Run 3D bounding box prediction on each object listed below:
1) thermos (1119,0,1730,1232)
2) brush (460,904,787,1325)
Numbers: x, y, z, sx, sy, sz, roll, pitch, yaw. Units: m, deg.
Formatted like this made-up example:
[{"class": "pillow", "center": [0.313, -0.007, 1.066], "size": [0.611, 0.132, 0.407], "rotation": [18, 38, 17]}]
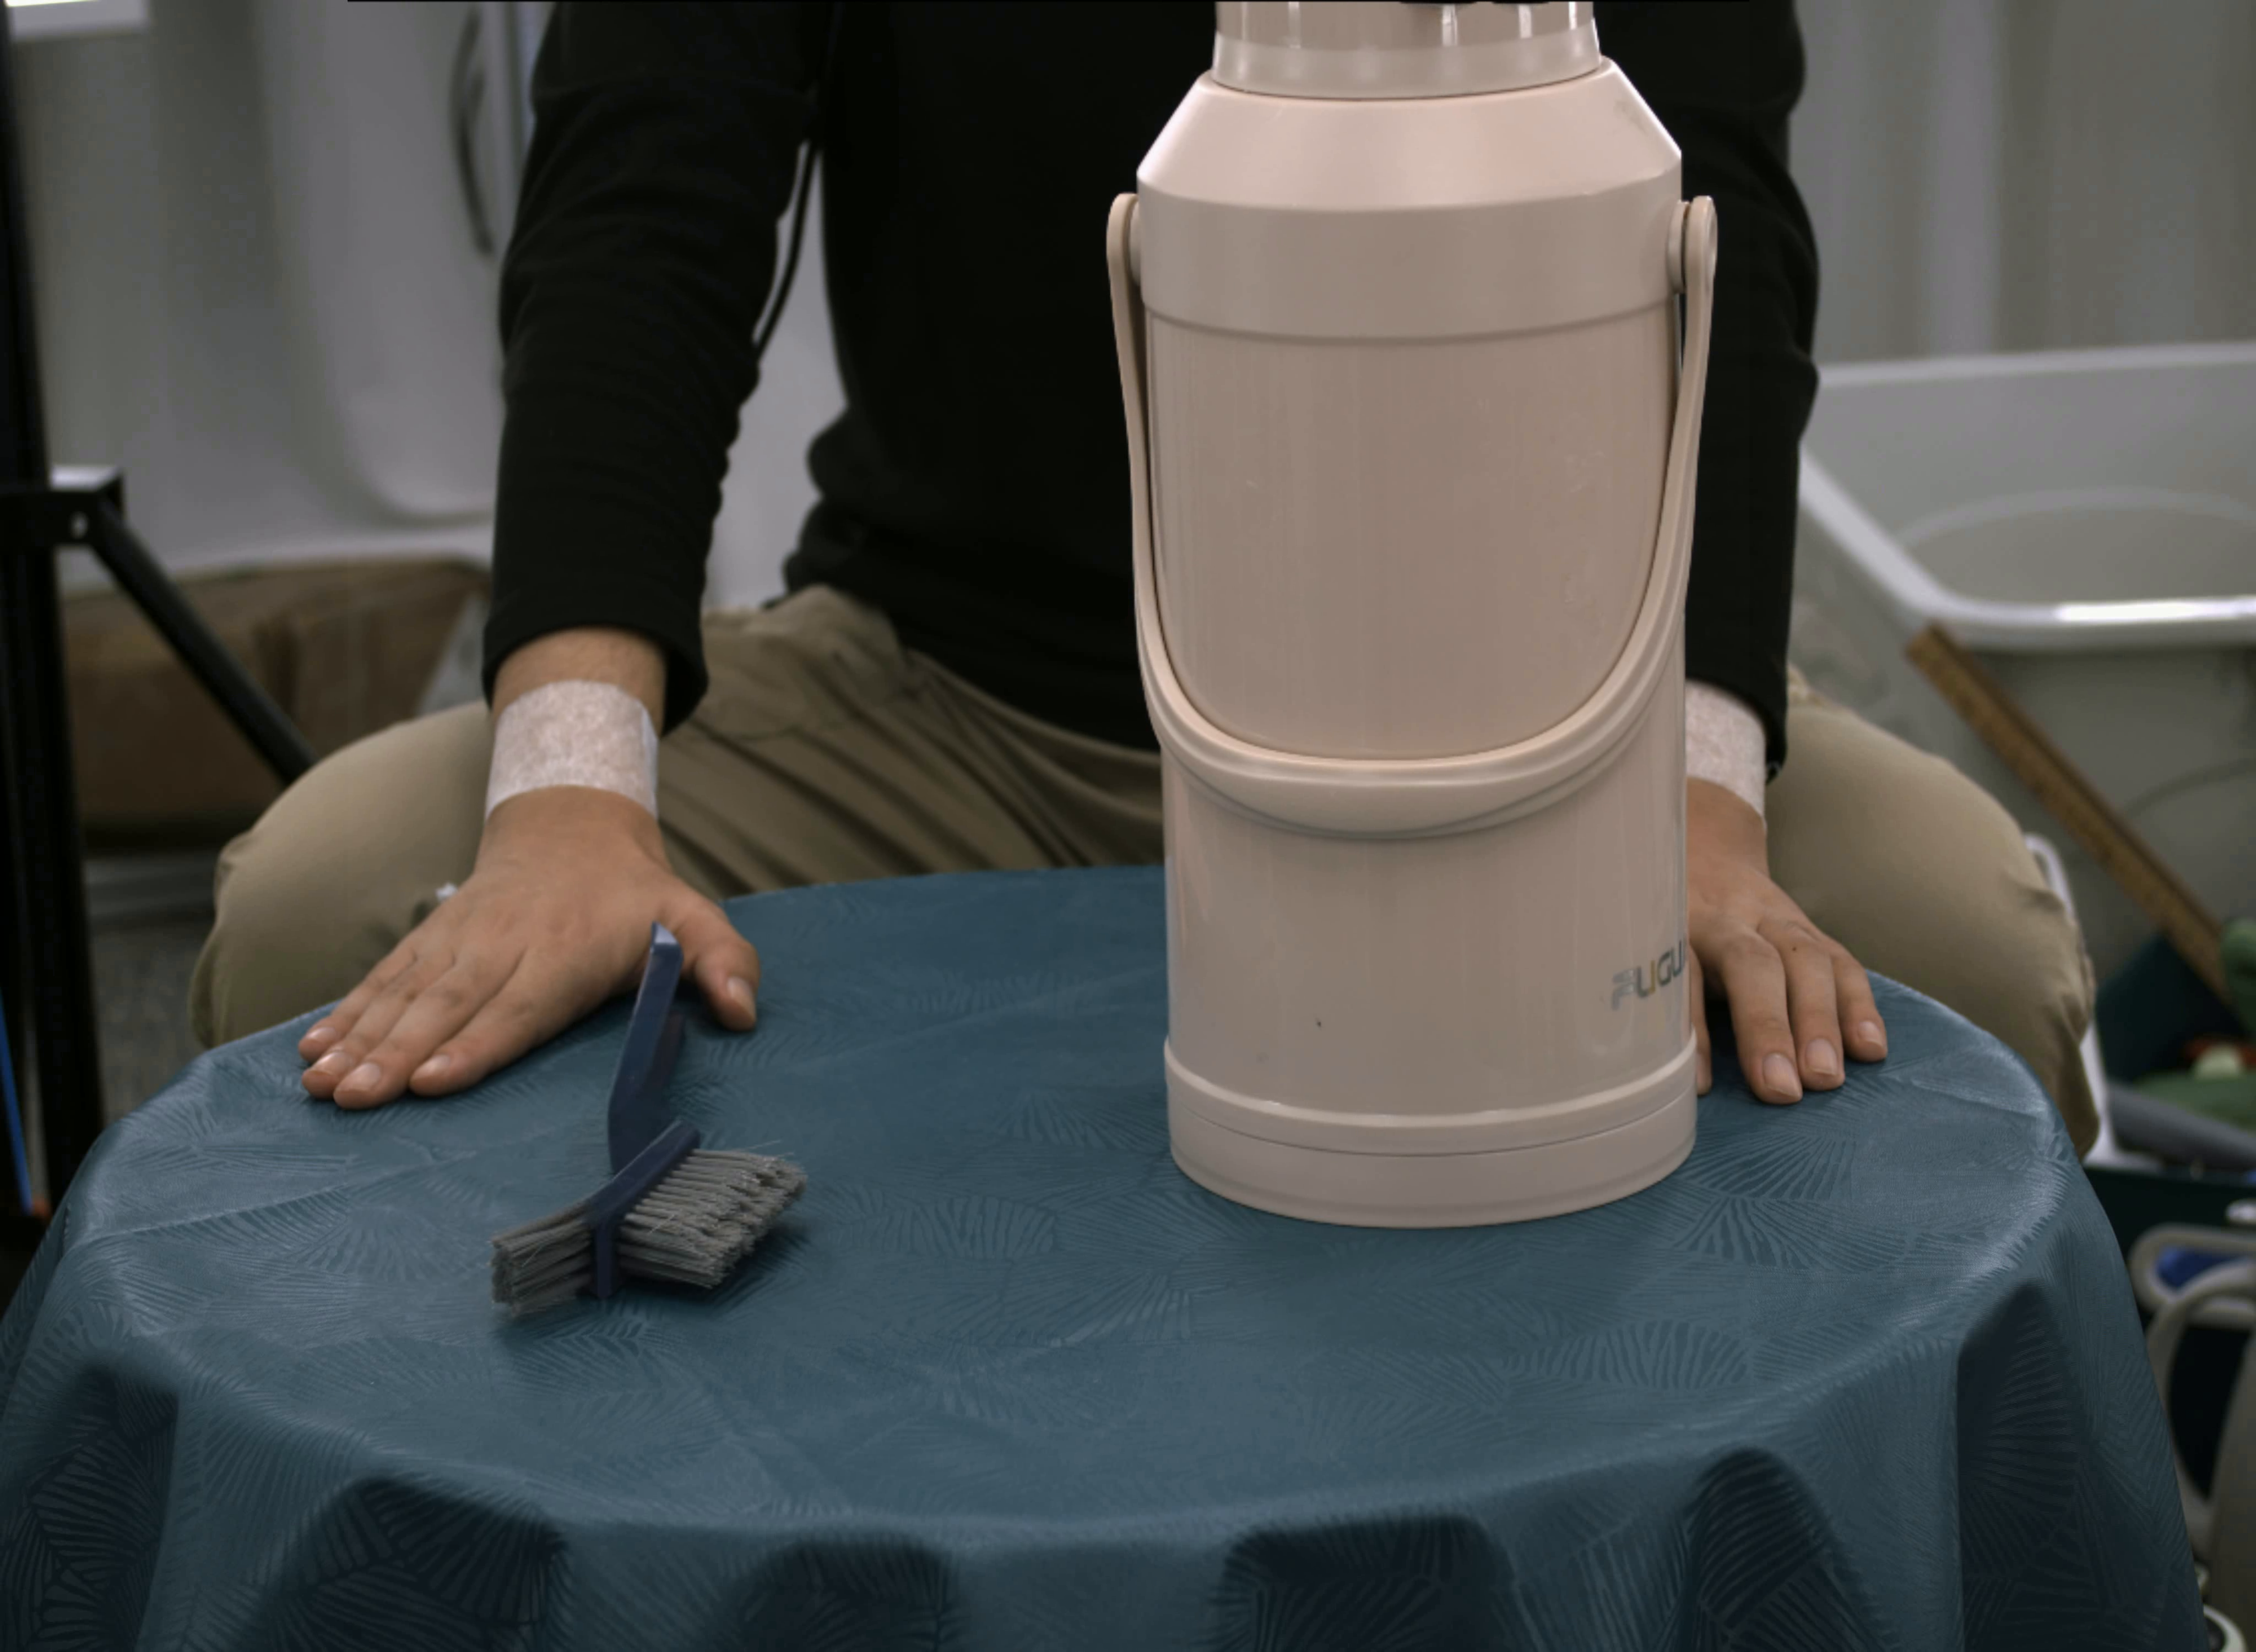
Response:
[{"class": "thermos", "center": [0.092, -0.100, 1.551], "size": [0.177, 0.406, 0.205], "rotation": [1, 15, 16]}, {"class": "brush", "center": [-0.155, 0.083, 1.608], "size": [0.095, 0.033, 0.276], "rotation": [-3, 18, -7]}]
